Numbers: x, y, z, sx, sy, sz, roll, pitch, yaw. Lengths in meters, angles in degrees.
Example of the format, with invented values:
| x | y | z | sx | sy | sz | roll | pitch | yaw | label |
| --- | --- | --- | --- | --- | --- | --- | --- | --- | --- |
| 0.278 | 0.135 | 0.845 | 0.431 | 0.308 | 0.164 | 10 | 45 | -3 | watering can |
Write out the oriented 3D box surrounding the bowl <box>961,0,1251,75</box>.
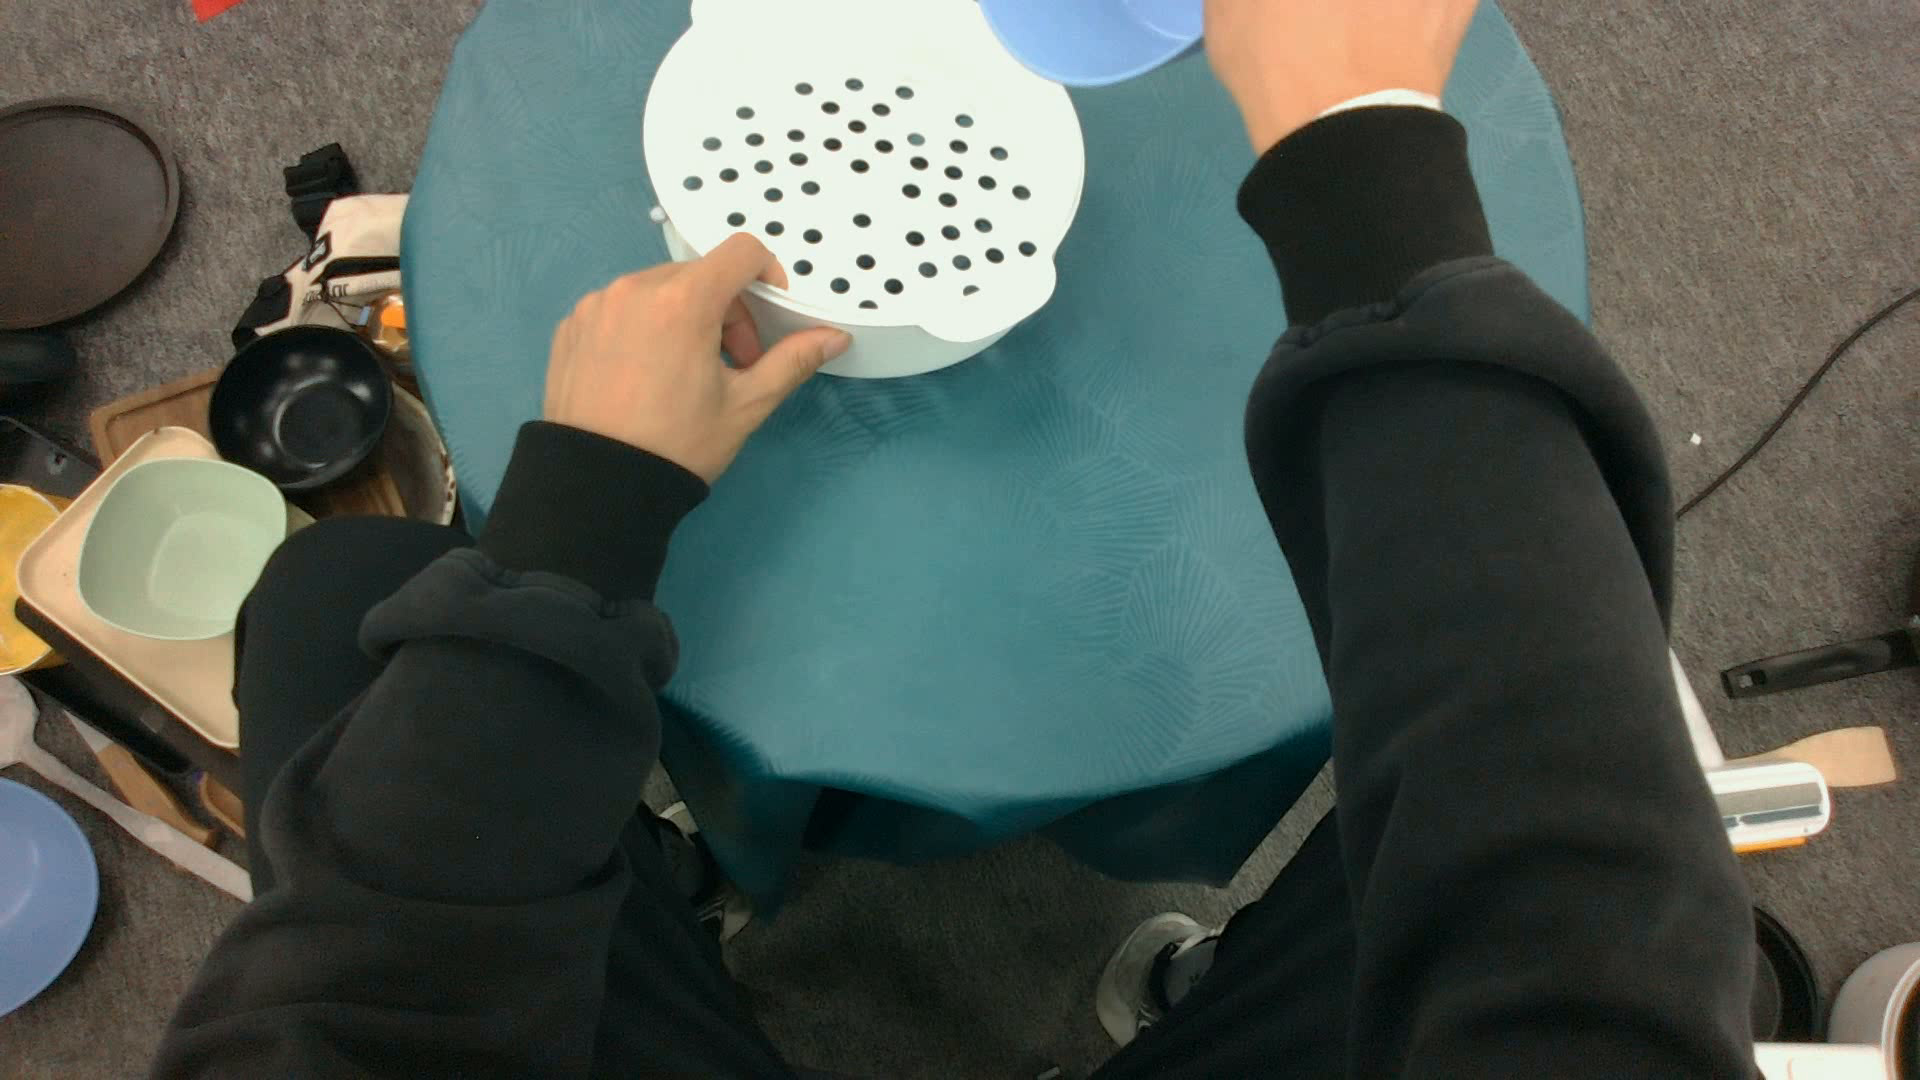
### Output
| x | y | z | sx | sy | sz | roll | pitch | yaw | label |
| --- | --- | --- | --- | --- | --- | --- | --- | --- | --- |
| 0.075 | -0.266 | 0.540 | 0.070 | 0.175 | 0.176 | -1 | 68 | -44 | bowl |

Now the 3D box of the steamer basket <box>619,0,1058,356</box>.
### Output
| x | y | z | sx | sy | sz | roll | pitch | yaw | label |
| --- | --- | --- | --- | --- | --- | --- | --- | --- | --- |
| -0.057 | -0.181 | 0.658 | 0.202 | 0.069 | 0.231 | -31 | 71 | -21 | steamer basket |
